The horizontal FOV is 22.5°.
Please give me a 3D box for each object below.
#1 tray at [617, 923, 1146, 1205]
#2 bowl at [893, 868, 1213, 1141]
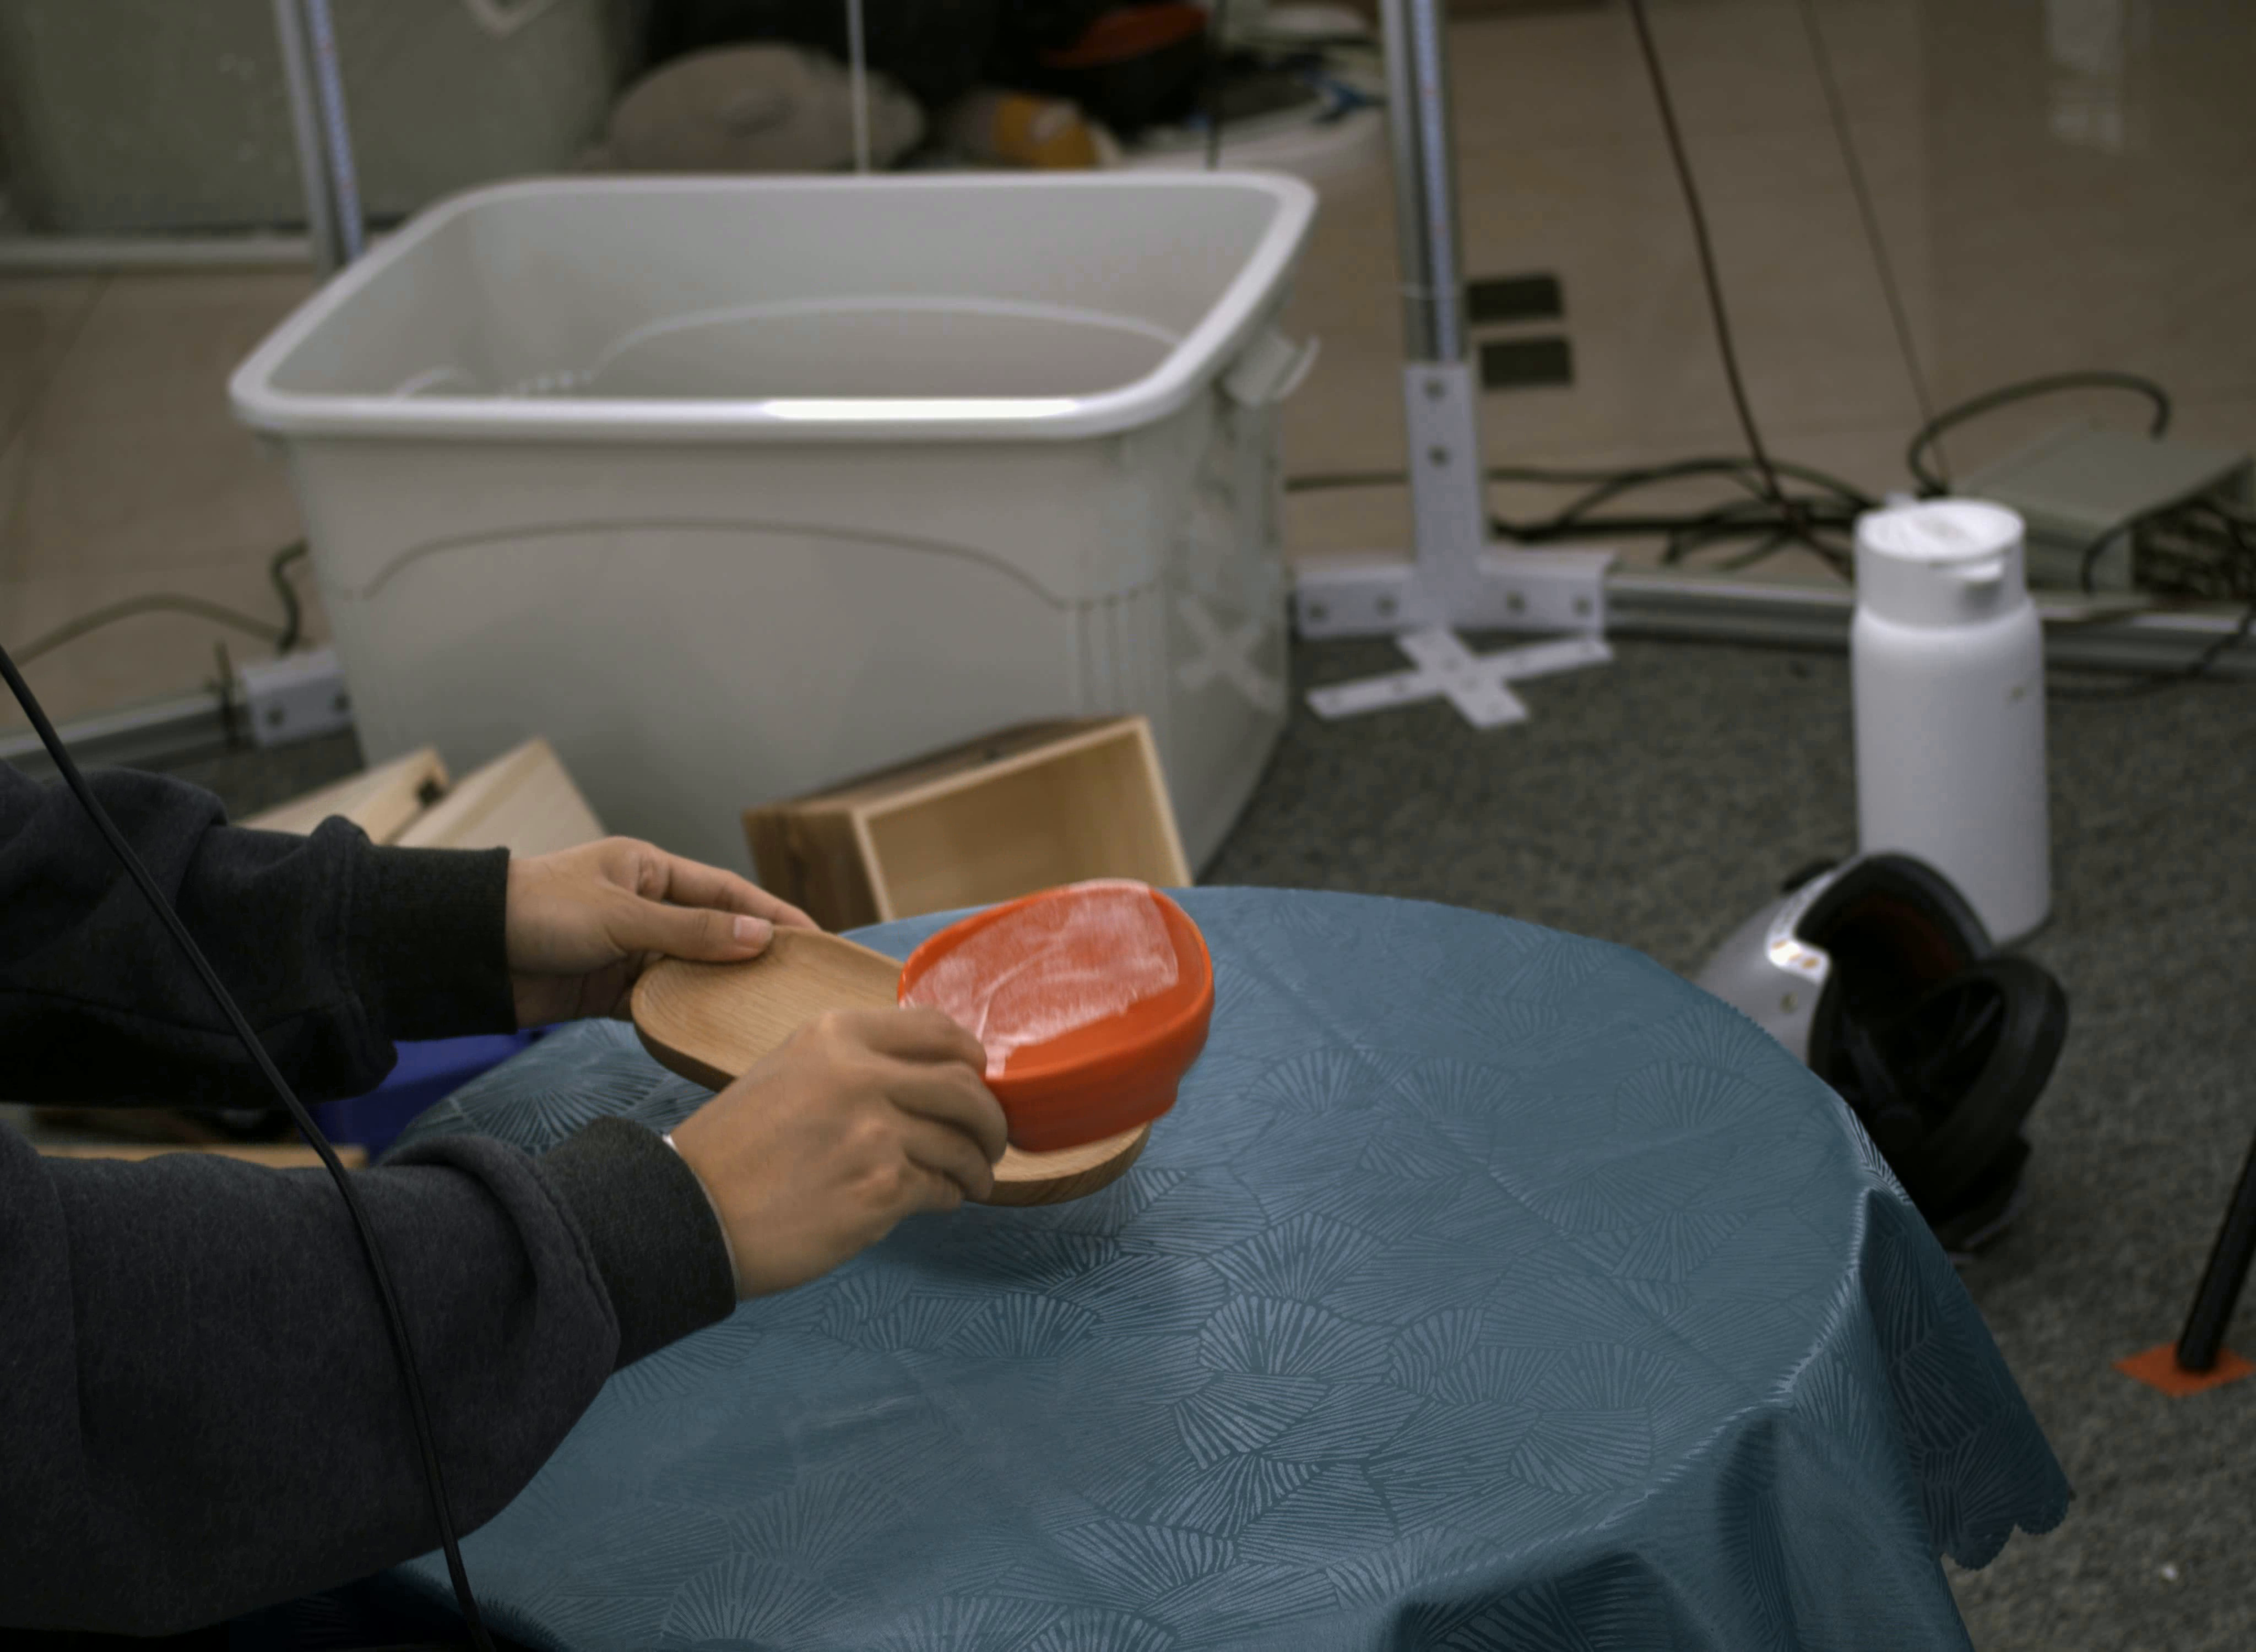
[{"bbox_3d":[-0.095,0.090,2.167,0.229,0.021,0.100,20,37,32],"label":"tray"},{"bbox_3d":[-0.023,0.068,1.983,0.119,0.052,0.117,-8,34,6],"label":"bowl"}]
